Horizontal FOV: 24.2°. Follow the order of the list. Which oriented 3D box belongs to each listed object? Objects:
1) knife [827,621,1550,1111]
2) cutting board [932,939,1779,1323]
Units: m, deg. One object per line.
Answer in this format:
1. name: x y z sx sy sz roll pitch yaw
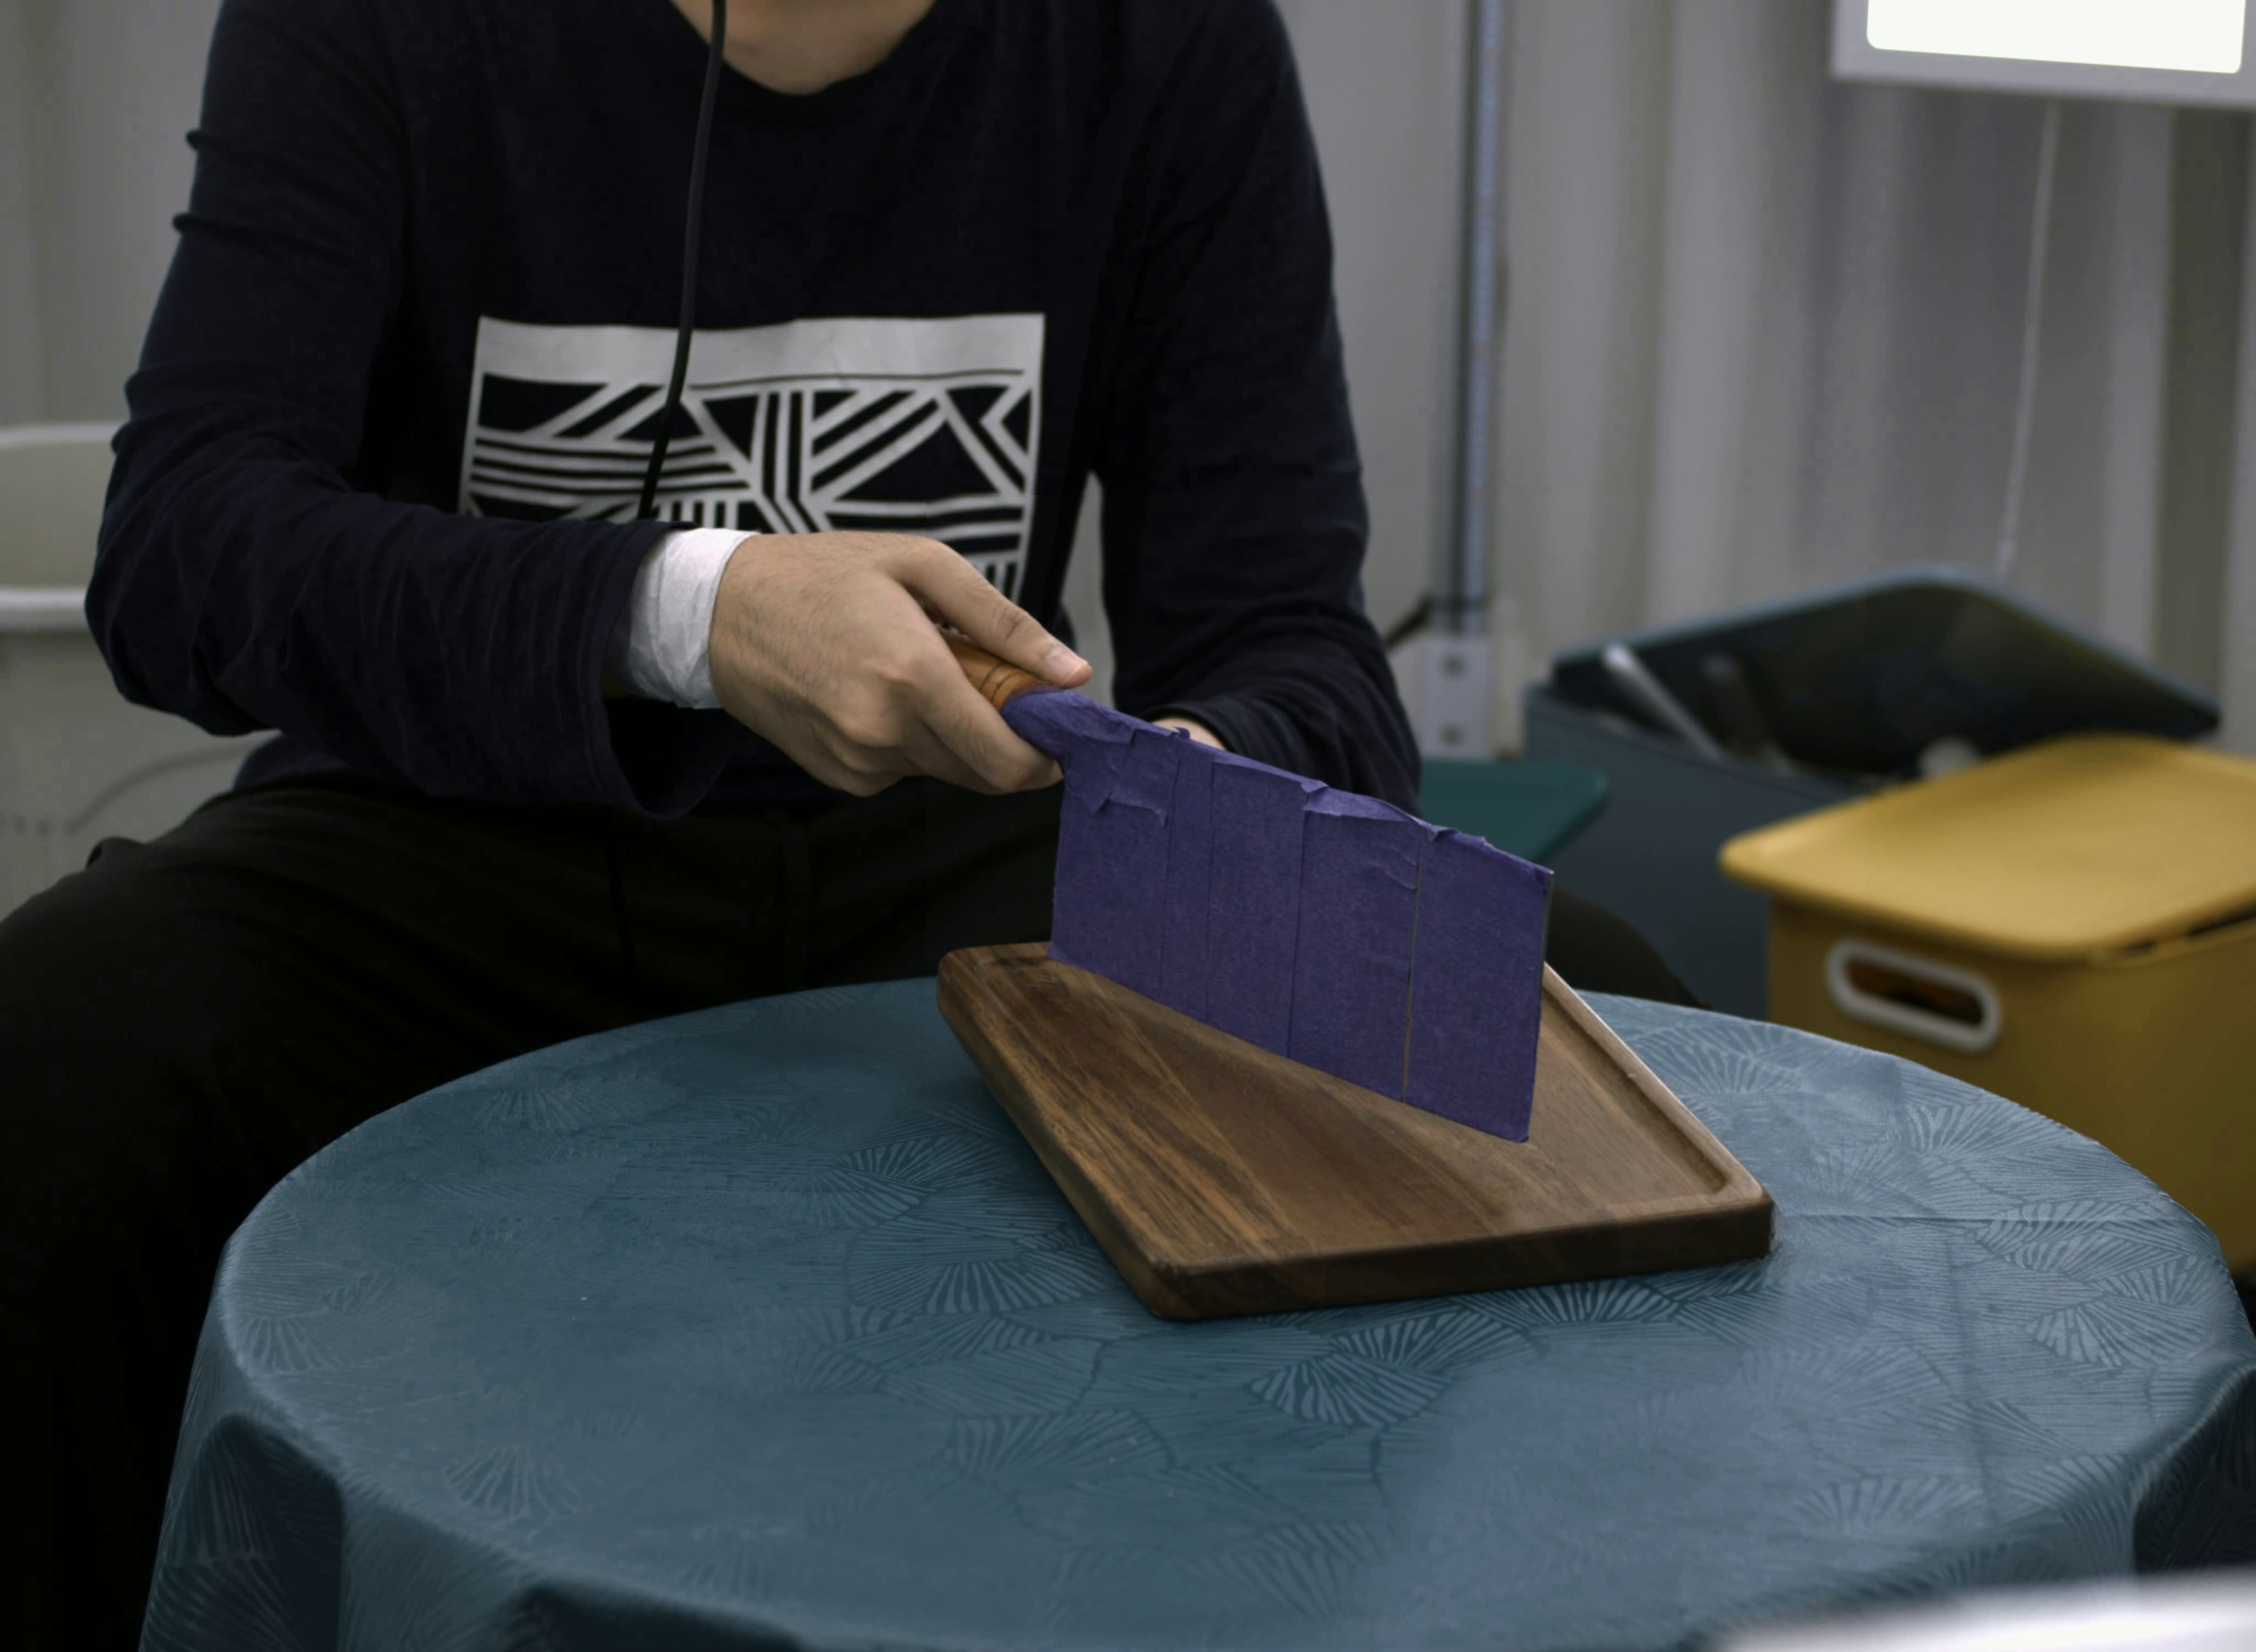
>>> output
1. knife: 0.013 0.012 1.667 0.032 0.104 0.311 -11 23 -42
2. cutting board: 0.051 0.068 1.689 0.201 0.023 0.348 -4 21 -17
